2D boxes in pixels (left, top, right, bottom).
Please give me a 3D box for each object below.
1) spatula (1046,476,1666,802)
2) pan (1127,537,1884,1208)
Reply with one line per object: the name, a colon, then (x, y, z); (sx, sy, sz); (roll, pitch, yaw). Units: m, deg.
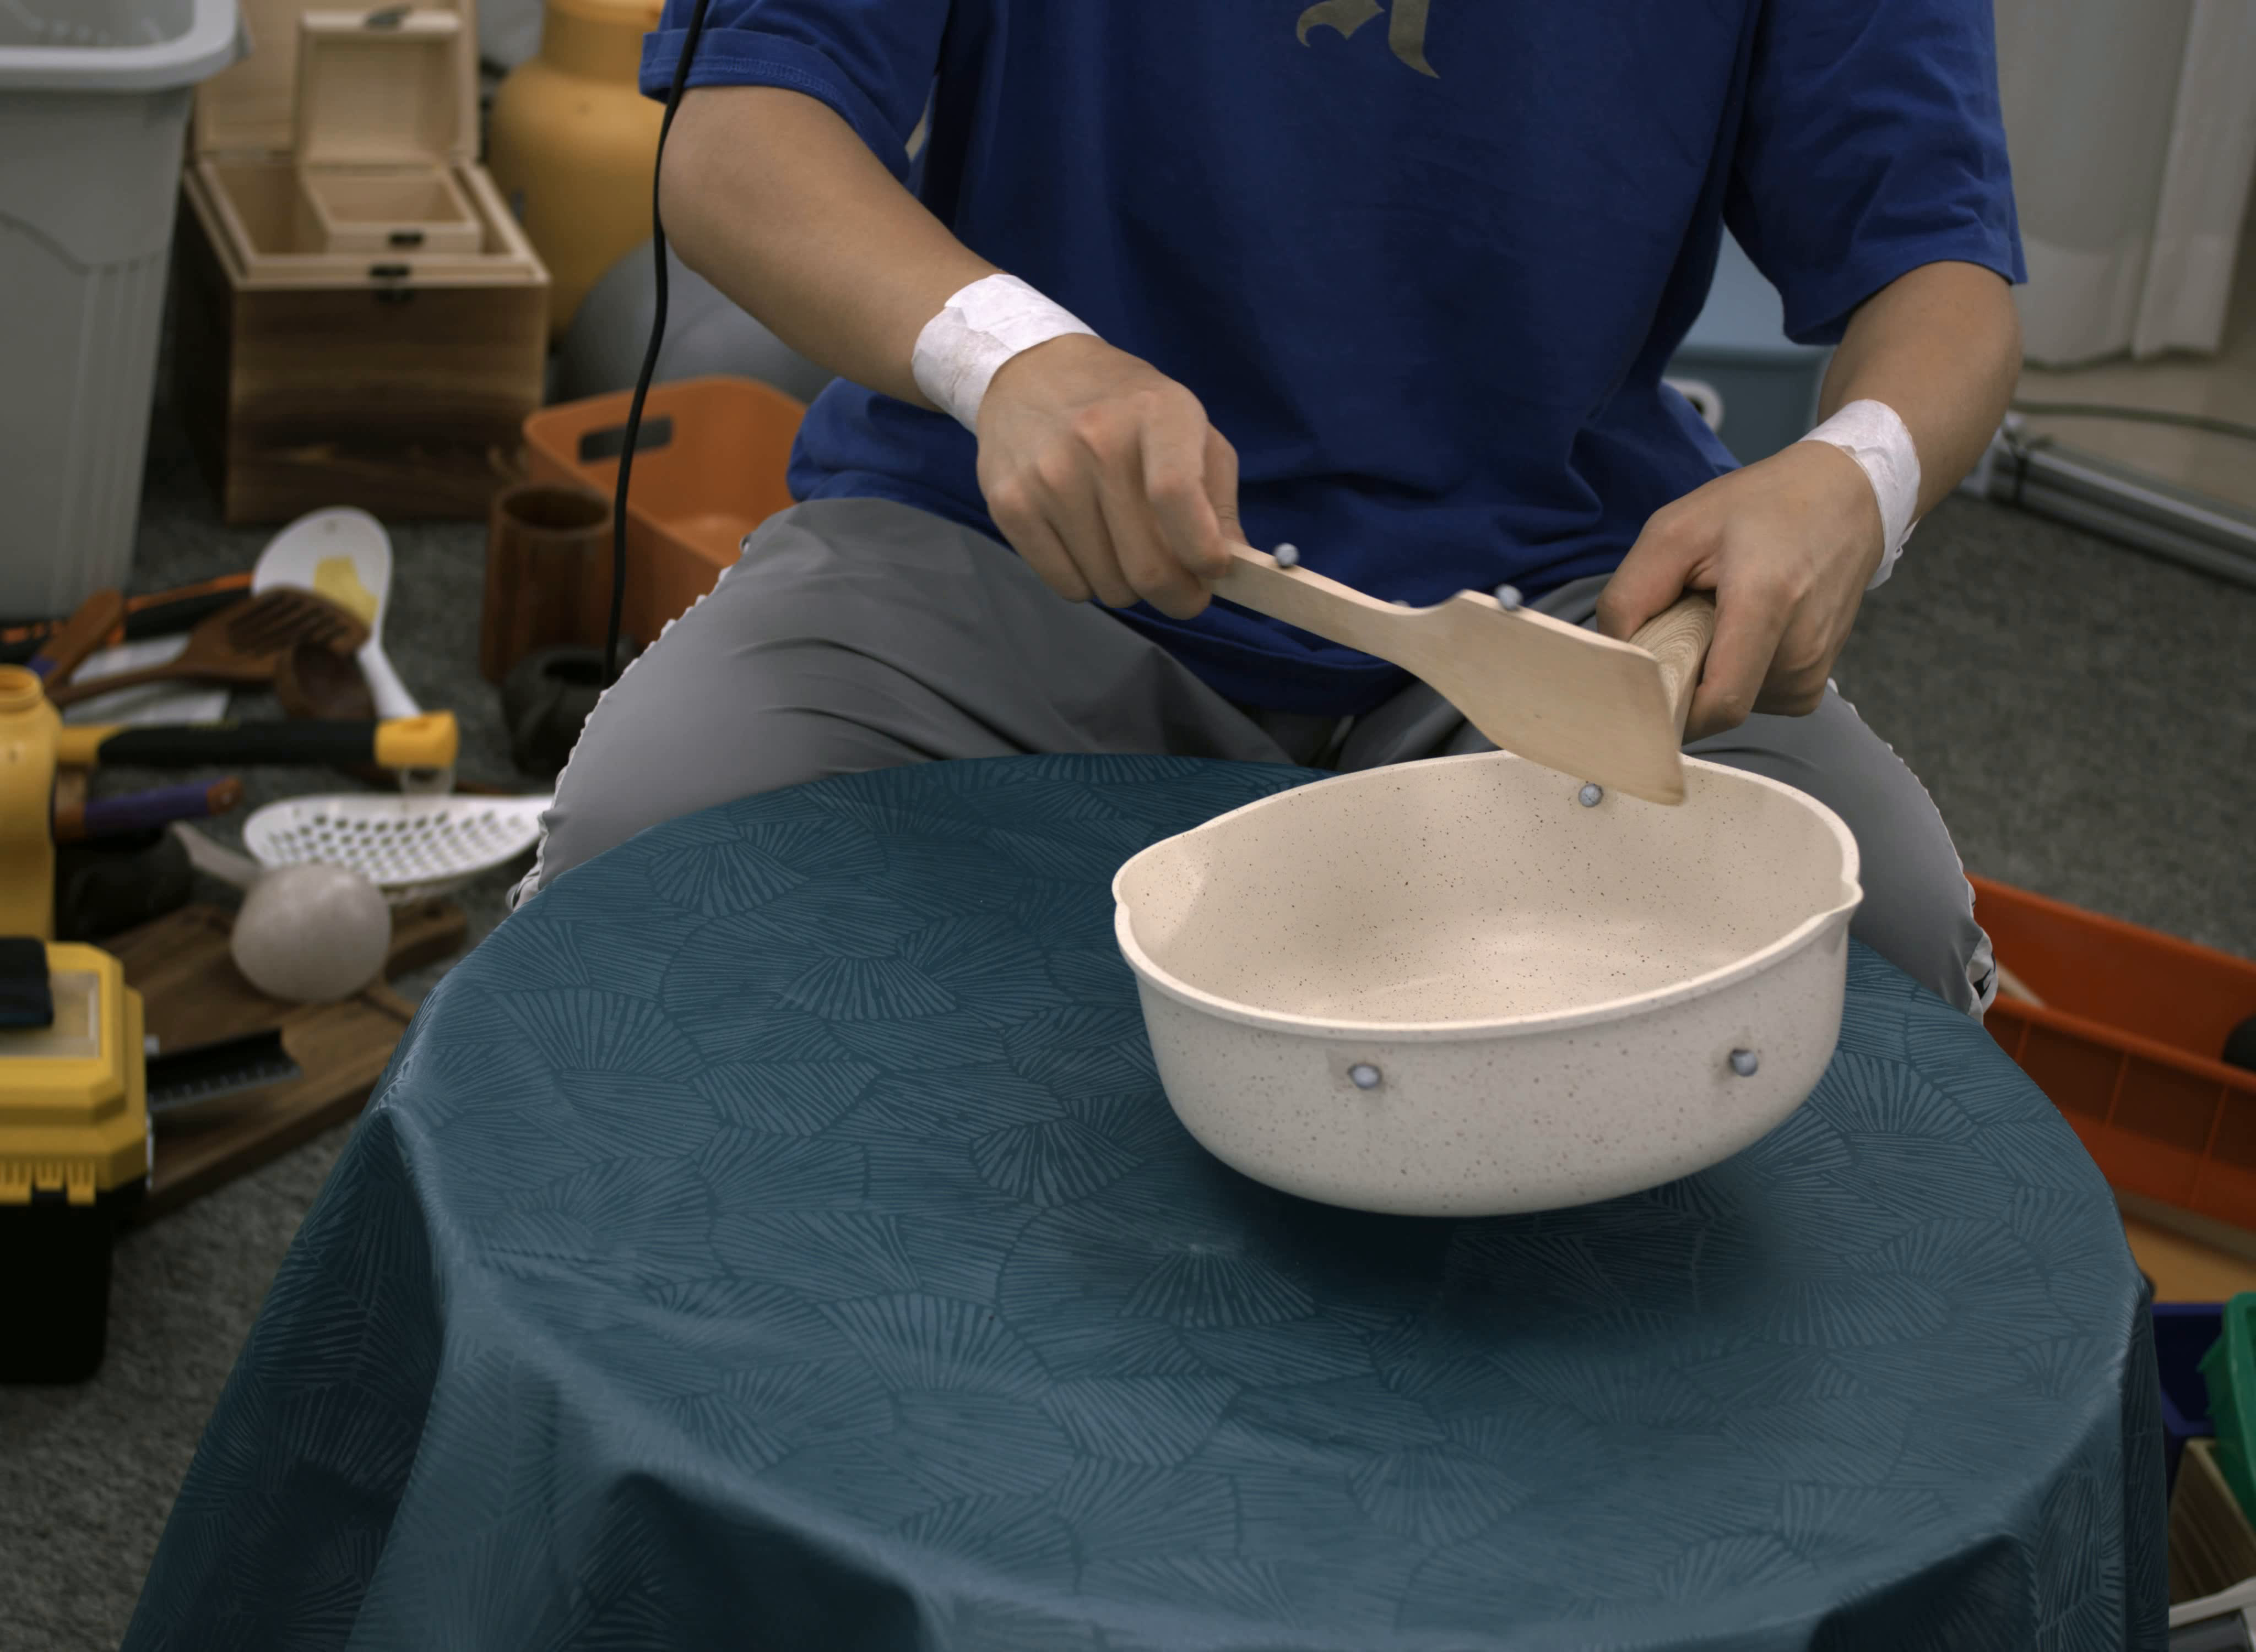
spatula: (0.073, -0.078, 1.900); (0.295, 0.072, 0.010); (24, 54, 40)
pan: (0.162, 0.014, 1.877); (0.264, 0.102, 0.435); (0, 21, 23)
